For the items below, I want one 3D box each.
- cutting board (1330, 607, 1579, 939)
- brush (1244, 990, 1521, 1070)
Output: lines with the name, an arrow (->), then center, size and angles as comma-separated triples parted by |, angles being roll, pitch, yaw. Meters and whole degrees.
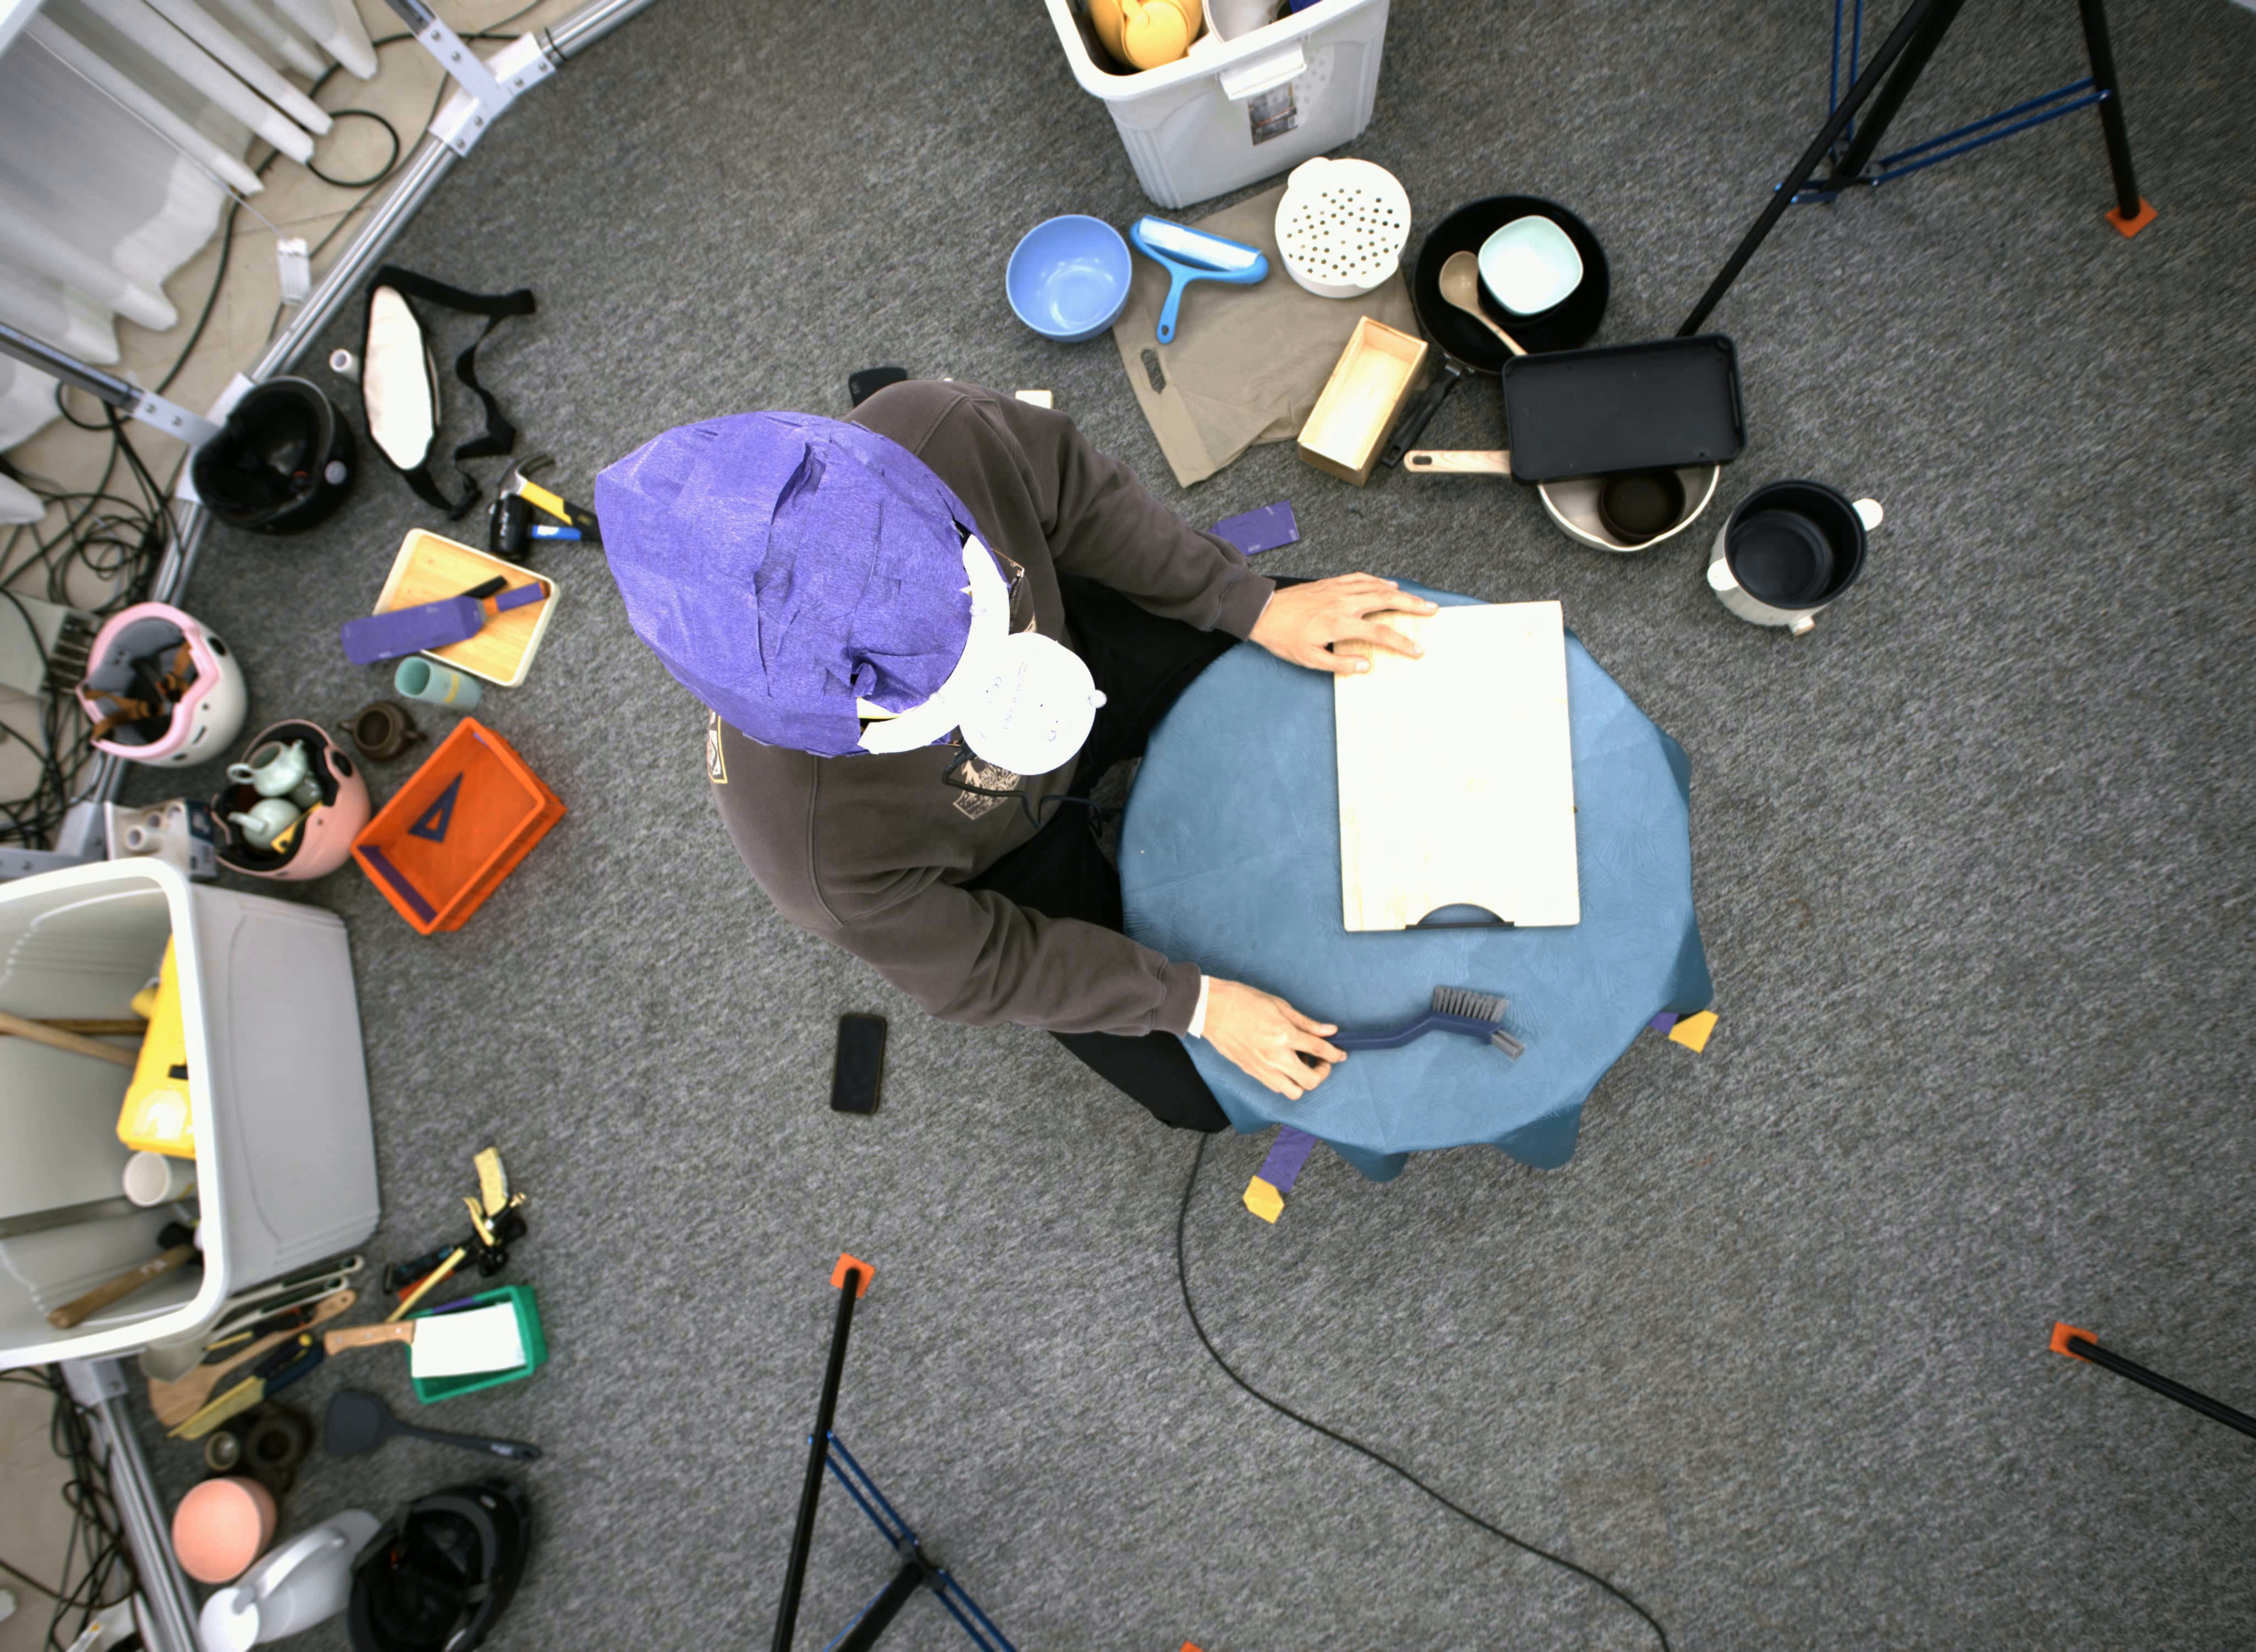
cutting board -> 0.340, -0.059, 1.443 | 0.252, 0.023, 0.347 | -3, 87, 11
brush -> 0.259, 0.223, 1.427 | 0.274, 0.034, 0.093 | -11, 58, 10
